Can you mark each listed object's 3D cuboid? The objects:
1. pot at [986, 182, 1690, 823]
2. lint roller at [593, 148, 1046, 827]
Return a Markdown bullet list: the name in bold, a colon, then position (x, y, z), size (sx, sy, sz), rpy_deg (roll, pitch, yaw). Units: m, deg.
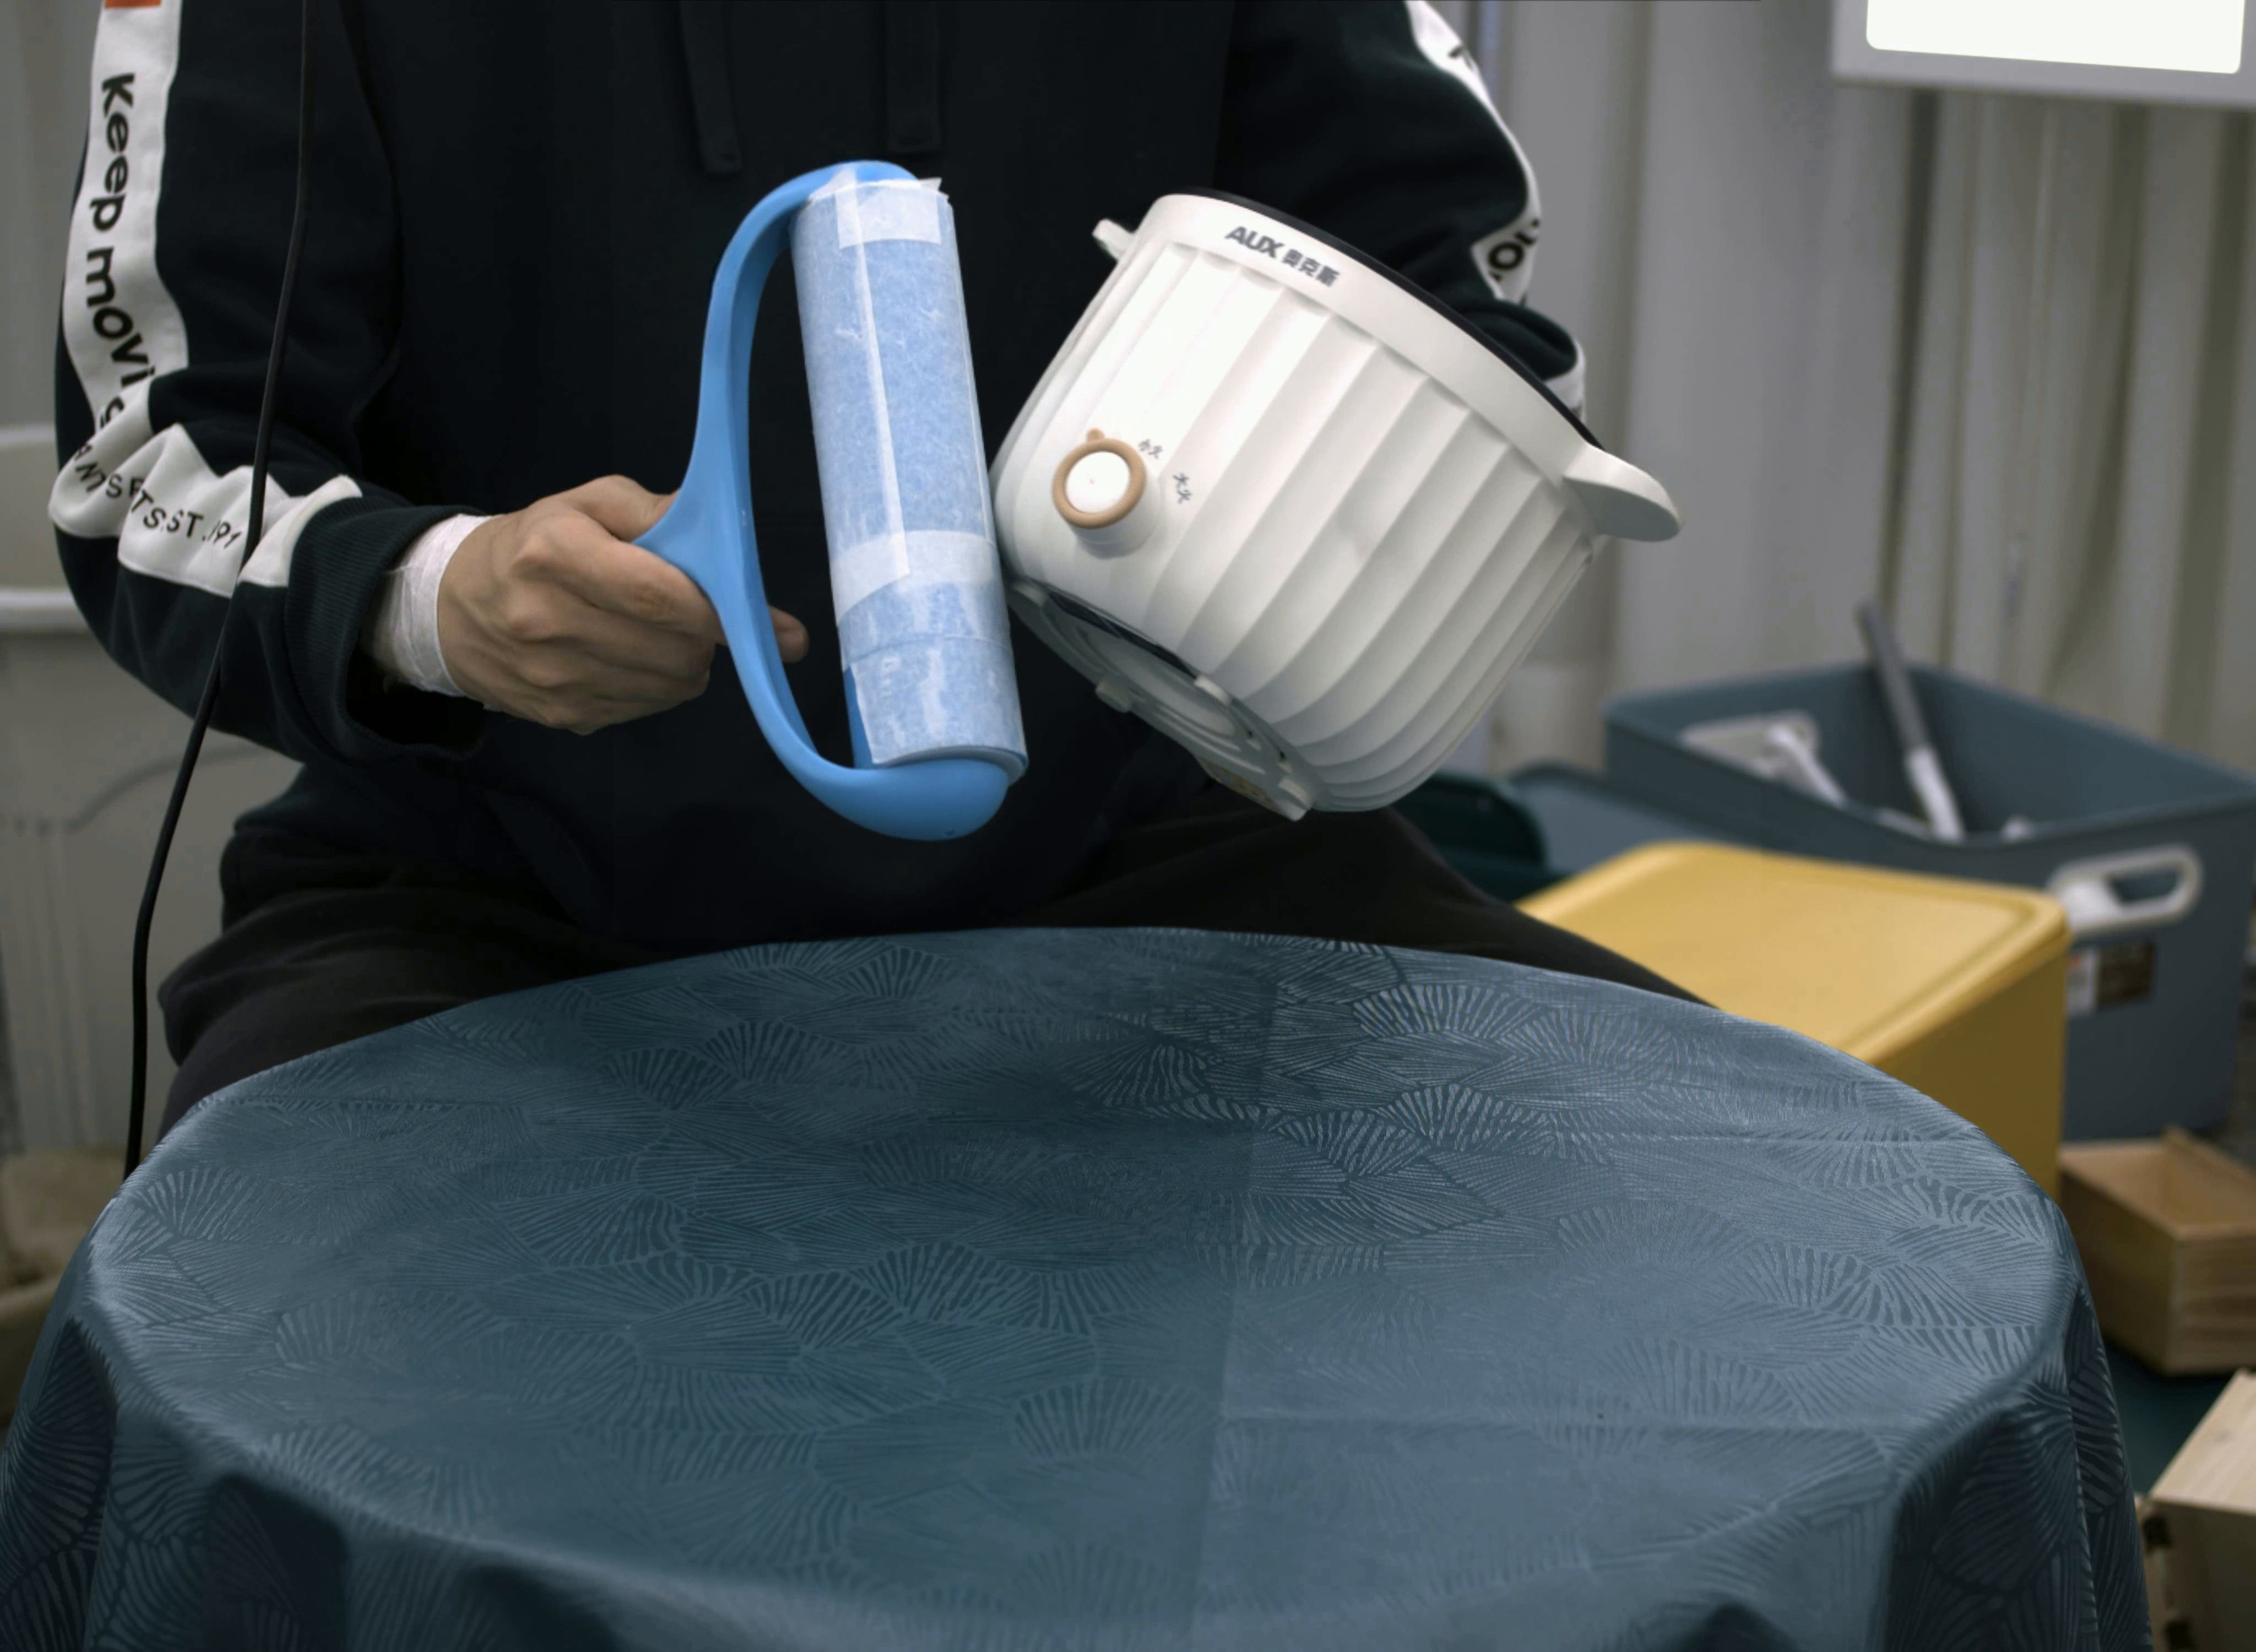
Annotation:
- **pot**: position (0.047, -0.098, 1.674), size (0.237, 0.142, 0.193), rpy_deg (28, -14, 29)
- **lint roller**: position (-0.116, -0.087, 1.671), size (0.179, 0.228, 0.068), rpy_deg (-23, -22, 28)
